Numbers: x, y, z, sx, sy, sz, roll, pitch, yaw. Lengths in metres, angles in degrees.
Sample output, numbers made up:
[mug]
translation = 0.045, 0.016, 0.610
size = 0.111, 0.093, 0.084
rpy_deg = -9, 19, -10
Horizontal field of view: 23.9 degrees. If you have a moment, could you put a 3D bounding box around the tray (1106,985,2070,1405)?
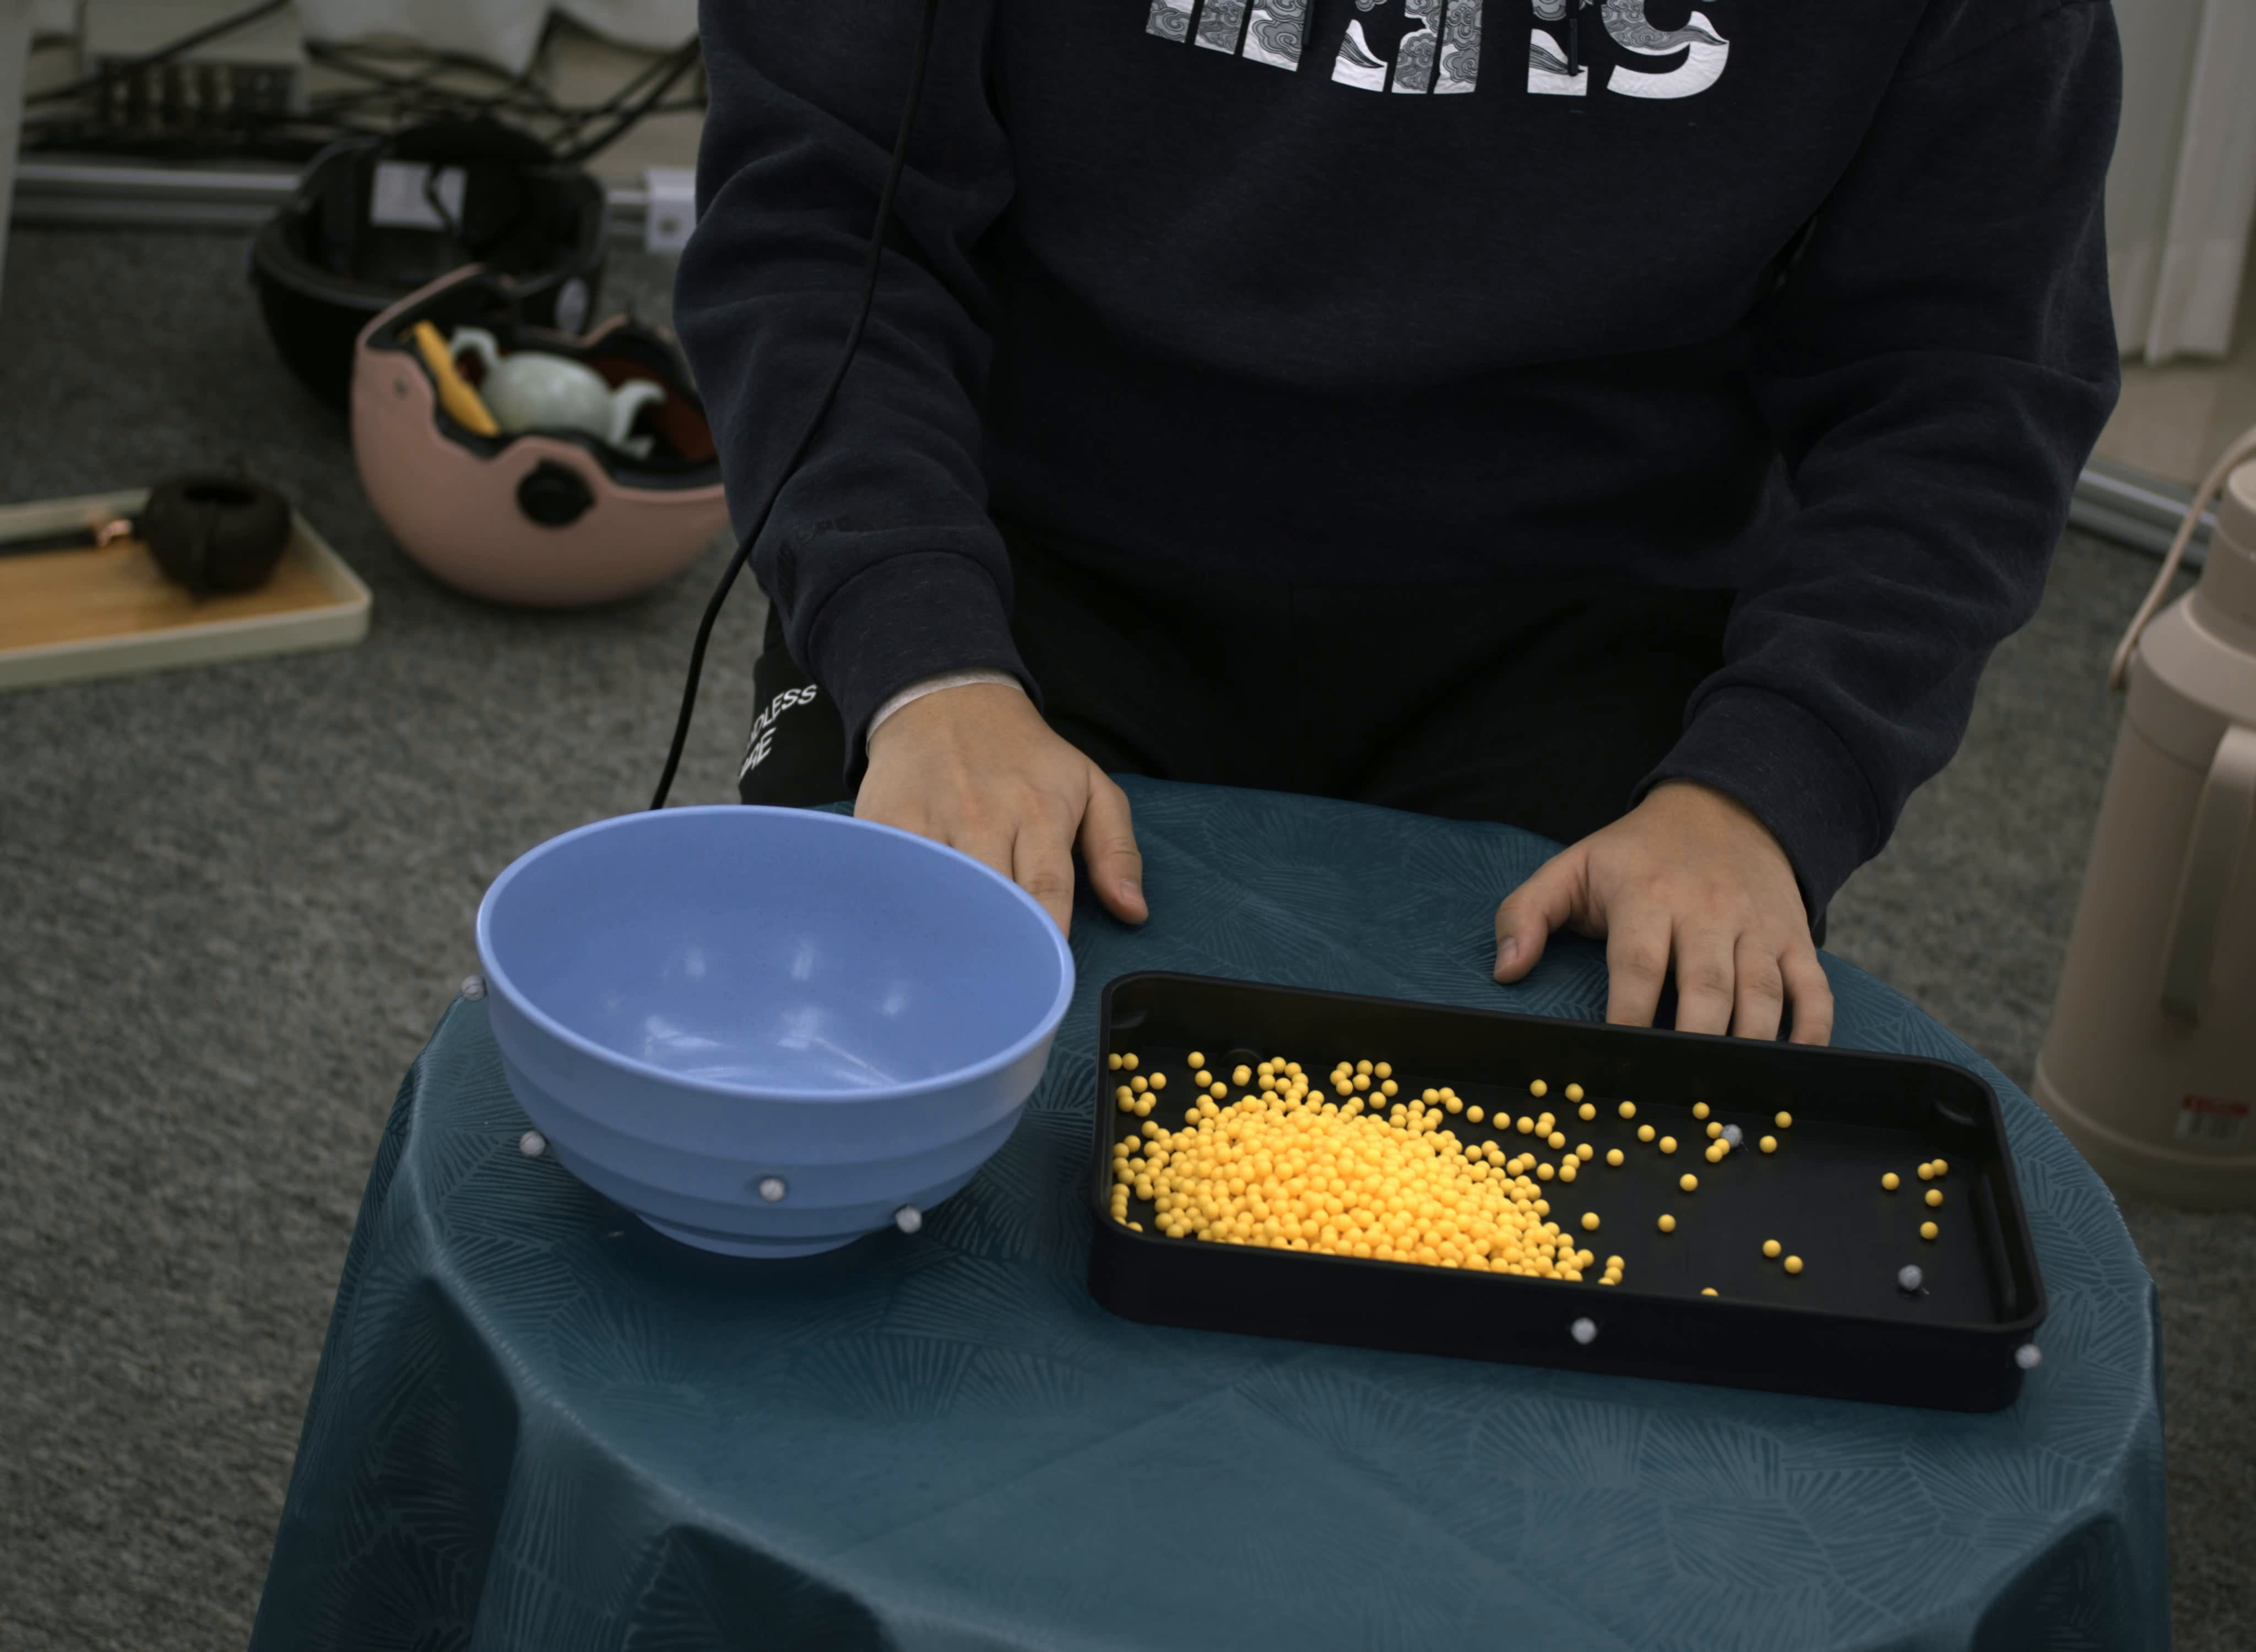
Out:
[tray]
translation = 0.149, 0.123, 1.806
size = 0.317, 0.037, 0.185
rpy_deg = 5, 26, -2

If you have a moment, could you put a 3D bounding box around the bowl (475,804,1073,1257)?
[bowl]
translation = -0.119, 0.078, 1.761
size = 0.196, 0.095, 0.198
rpy_deg = 4, 27, -3
